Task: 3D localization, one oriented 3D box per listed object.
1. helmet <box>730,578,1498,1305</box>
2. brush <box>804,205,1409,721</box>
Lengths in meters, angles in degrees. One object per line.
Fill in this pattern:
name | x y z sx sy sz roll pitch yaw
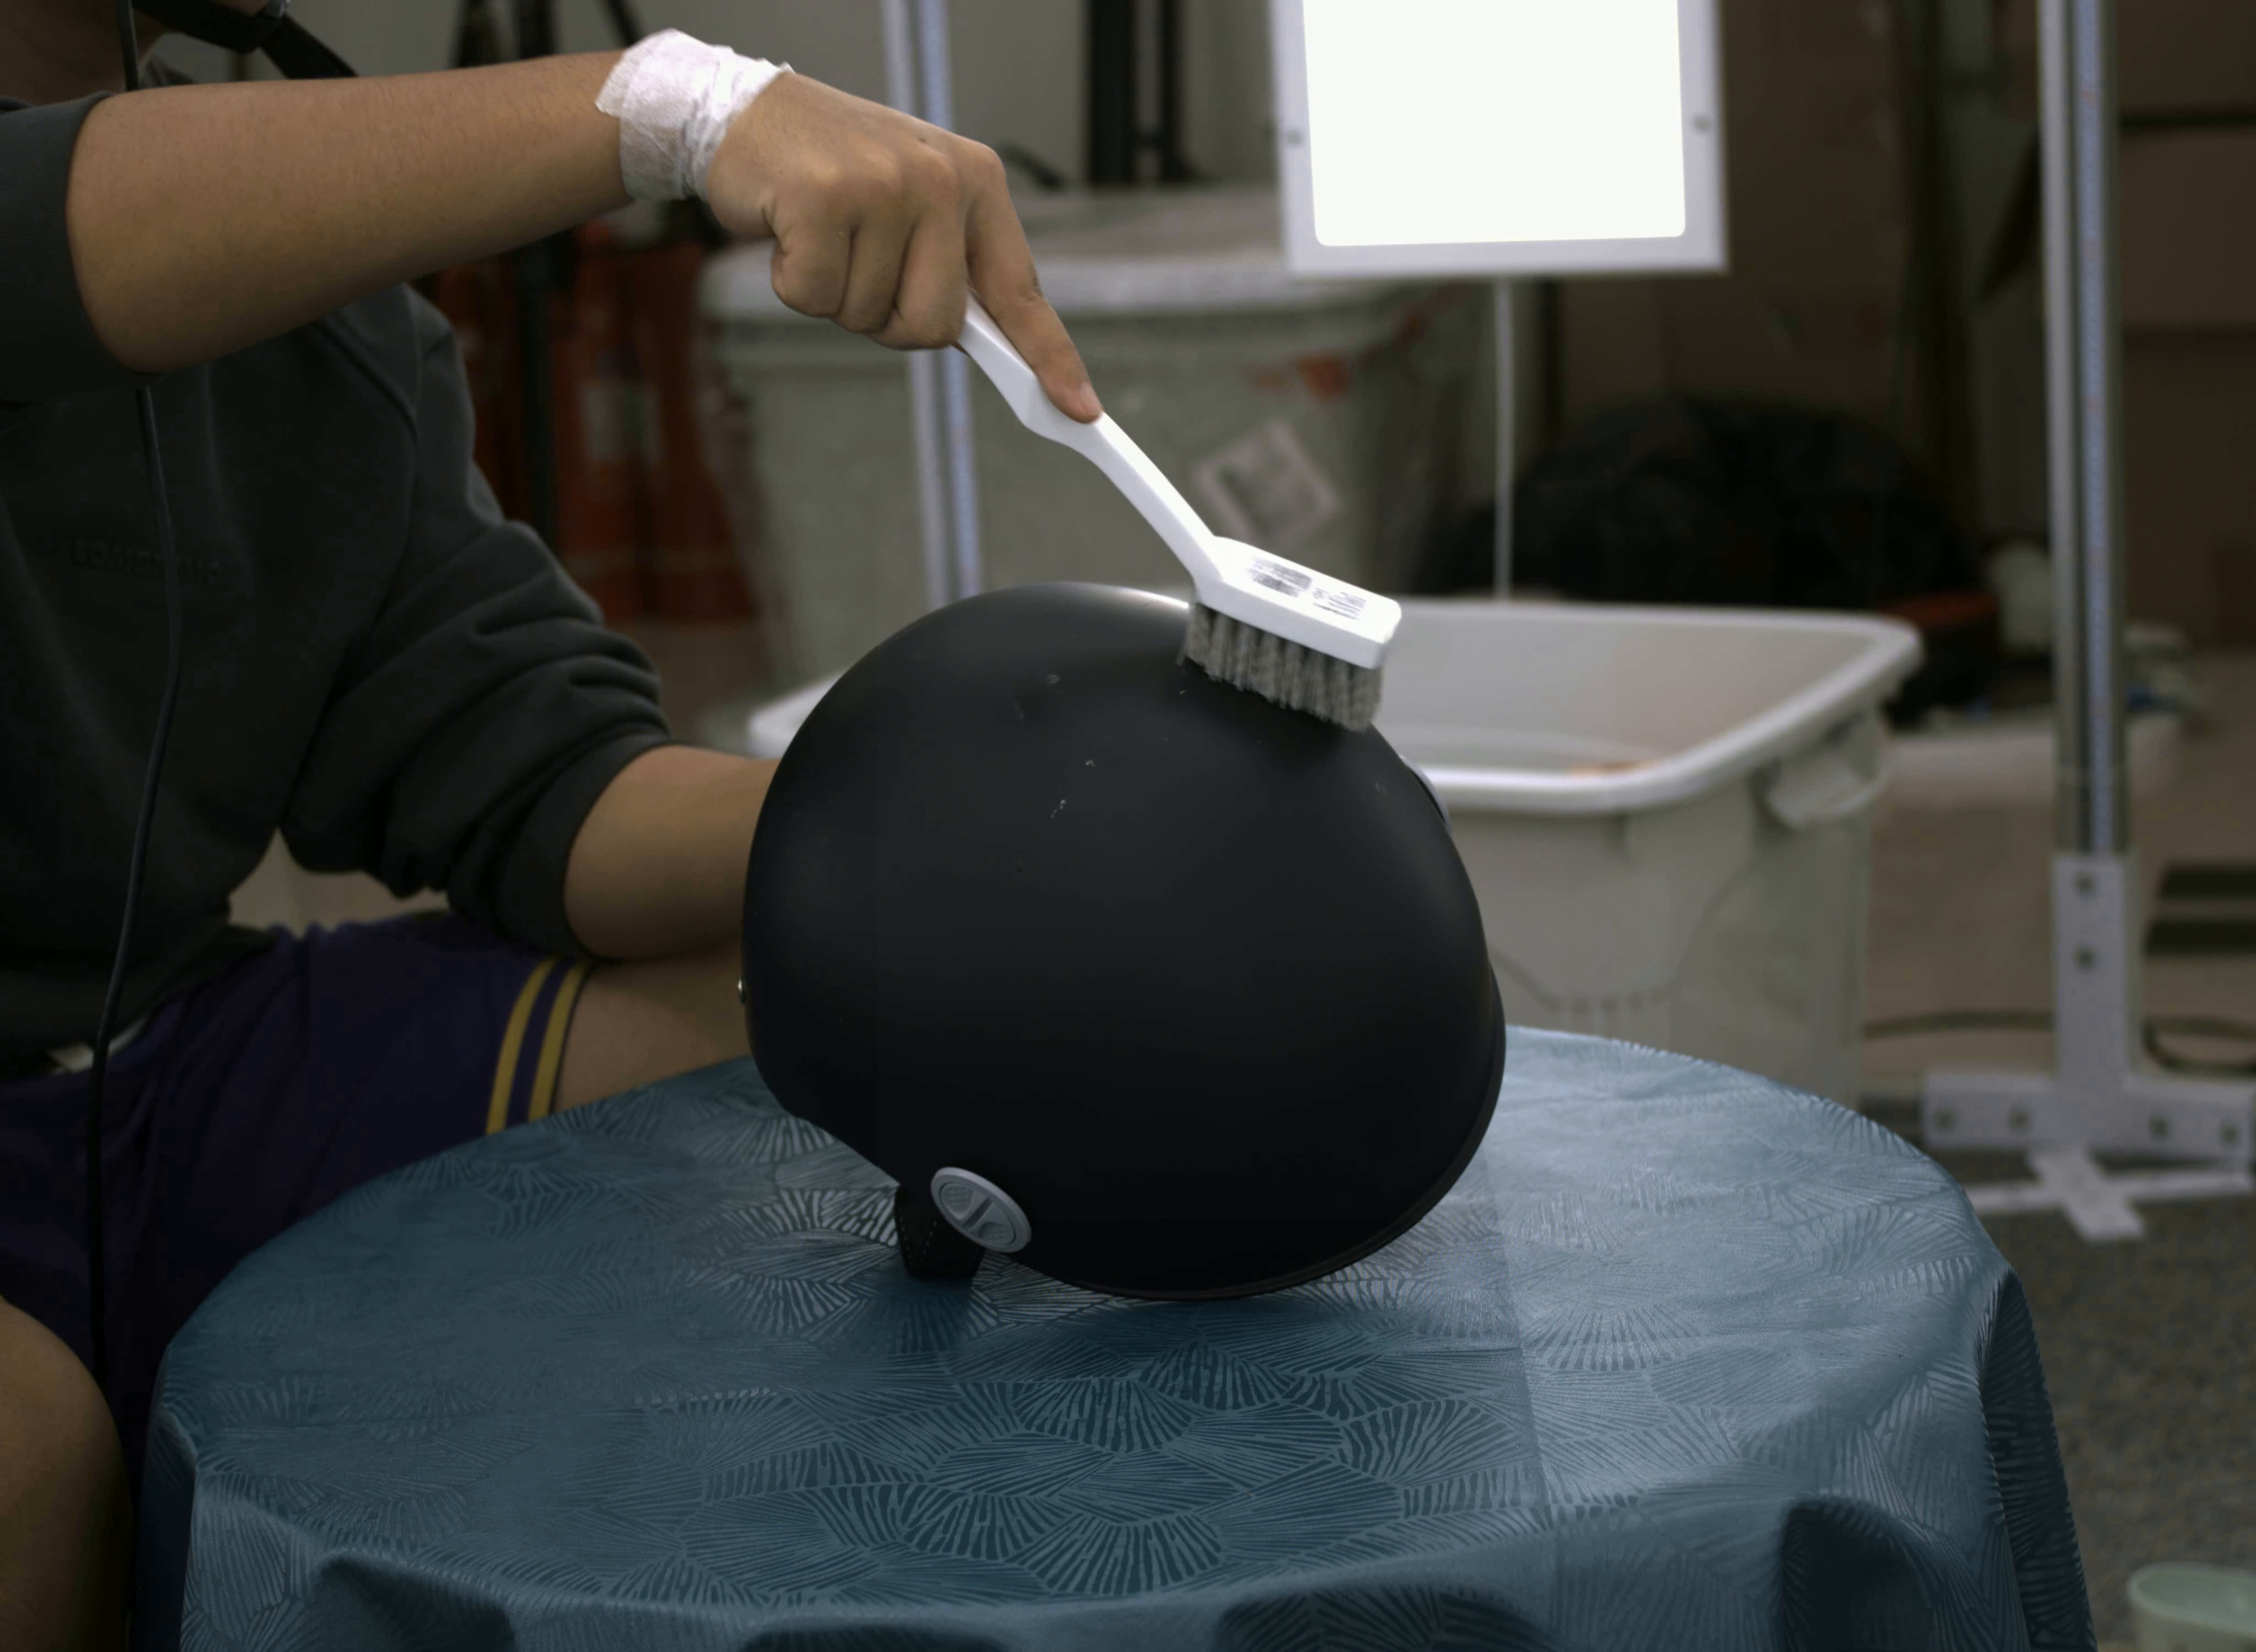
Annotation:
helmet | -0.011 0.018 1.813 0.226 0.166 0.277 -41 52 -22
brush | -0.012 -0.113 1.764 0.242 0.051 0.034 35 29 -5
